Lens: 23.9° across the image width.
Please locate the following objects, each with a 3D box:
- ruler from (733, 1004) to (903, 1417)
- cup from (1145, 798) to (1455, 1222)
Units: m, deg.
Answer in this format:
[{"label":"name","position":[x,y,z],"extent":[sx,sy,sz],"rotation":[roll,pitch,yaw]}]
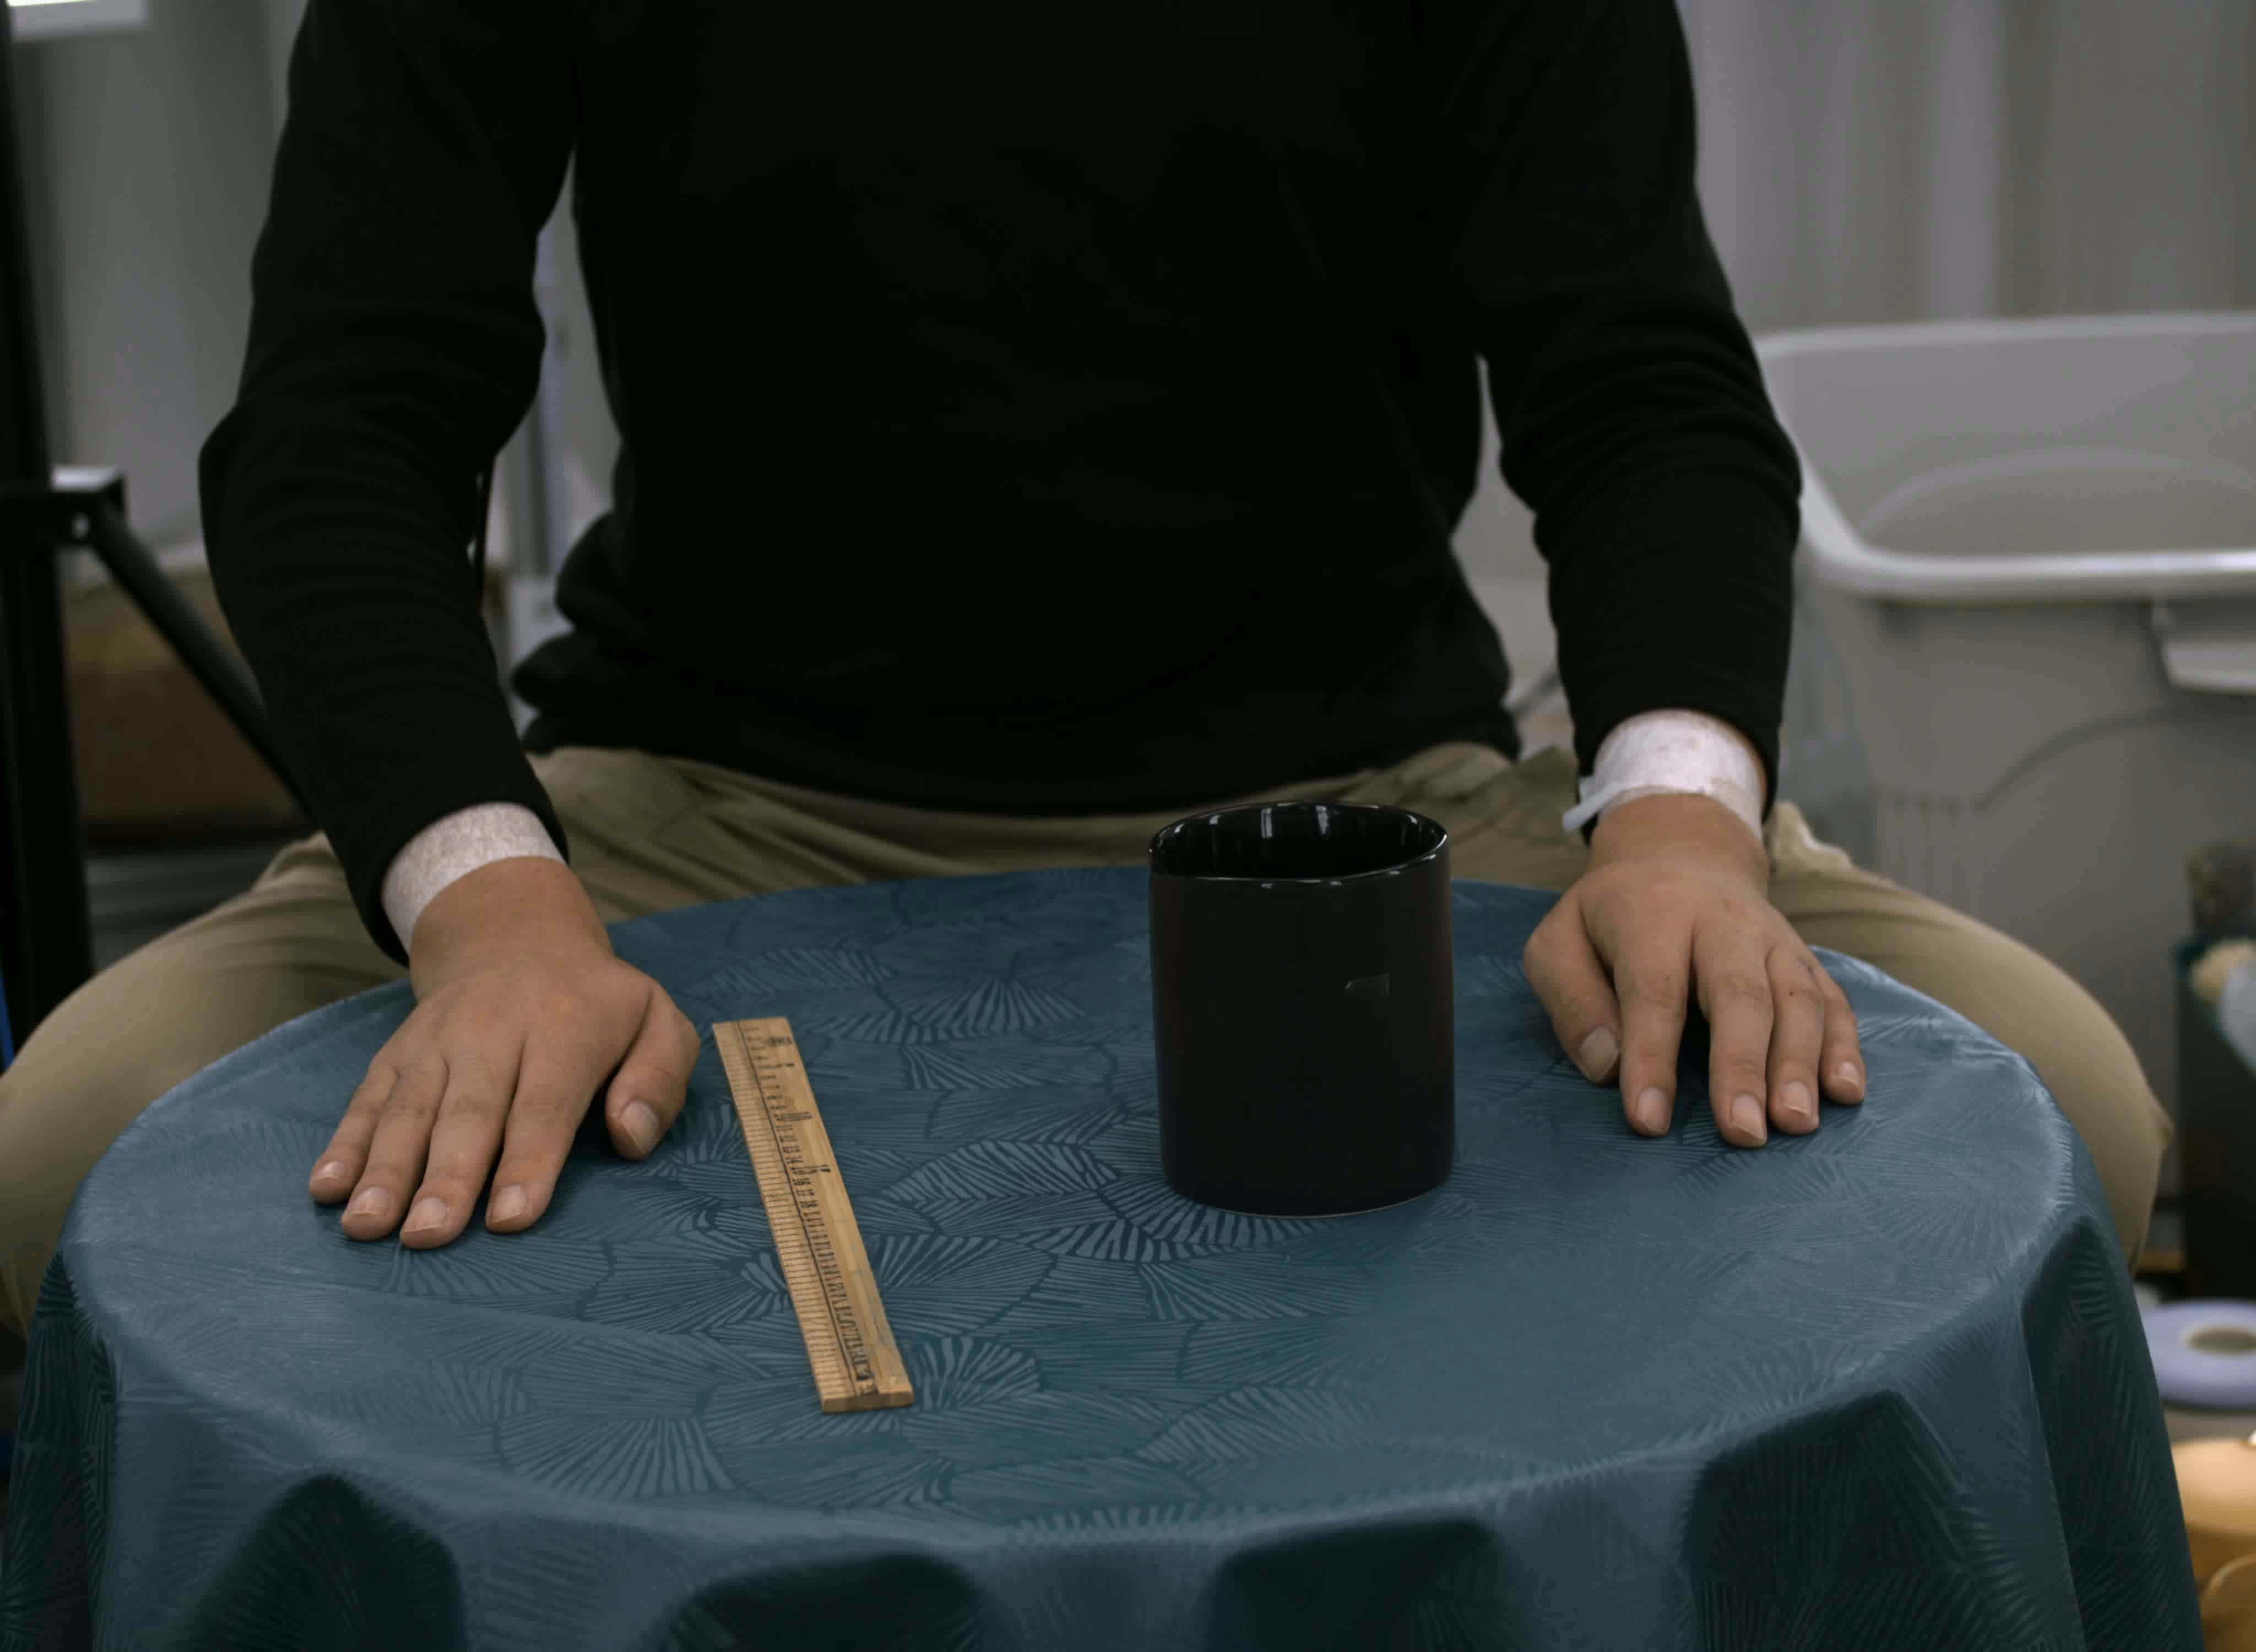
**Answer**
[{"label":"ruler","position":[-0.094,0.105,1.563],"extent":[0.027,0.022,0.335],"rotation":[0,16,-8]},{"label":"cup","position":[0.049,0.049,1.572],"extent":[0.088,0.105,0.124],"rotation":[-5,15,-5]}]
